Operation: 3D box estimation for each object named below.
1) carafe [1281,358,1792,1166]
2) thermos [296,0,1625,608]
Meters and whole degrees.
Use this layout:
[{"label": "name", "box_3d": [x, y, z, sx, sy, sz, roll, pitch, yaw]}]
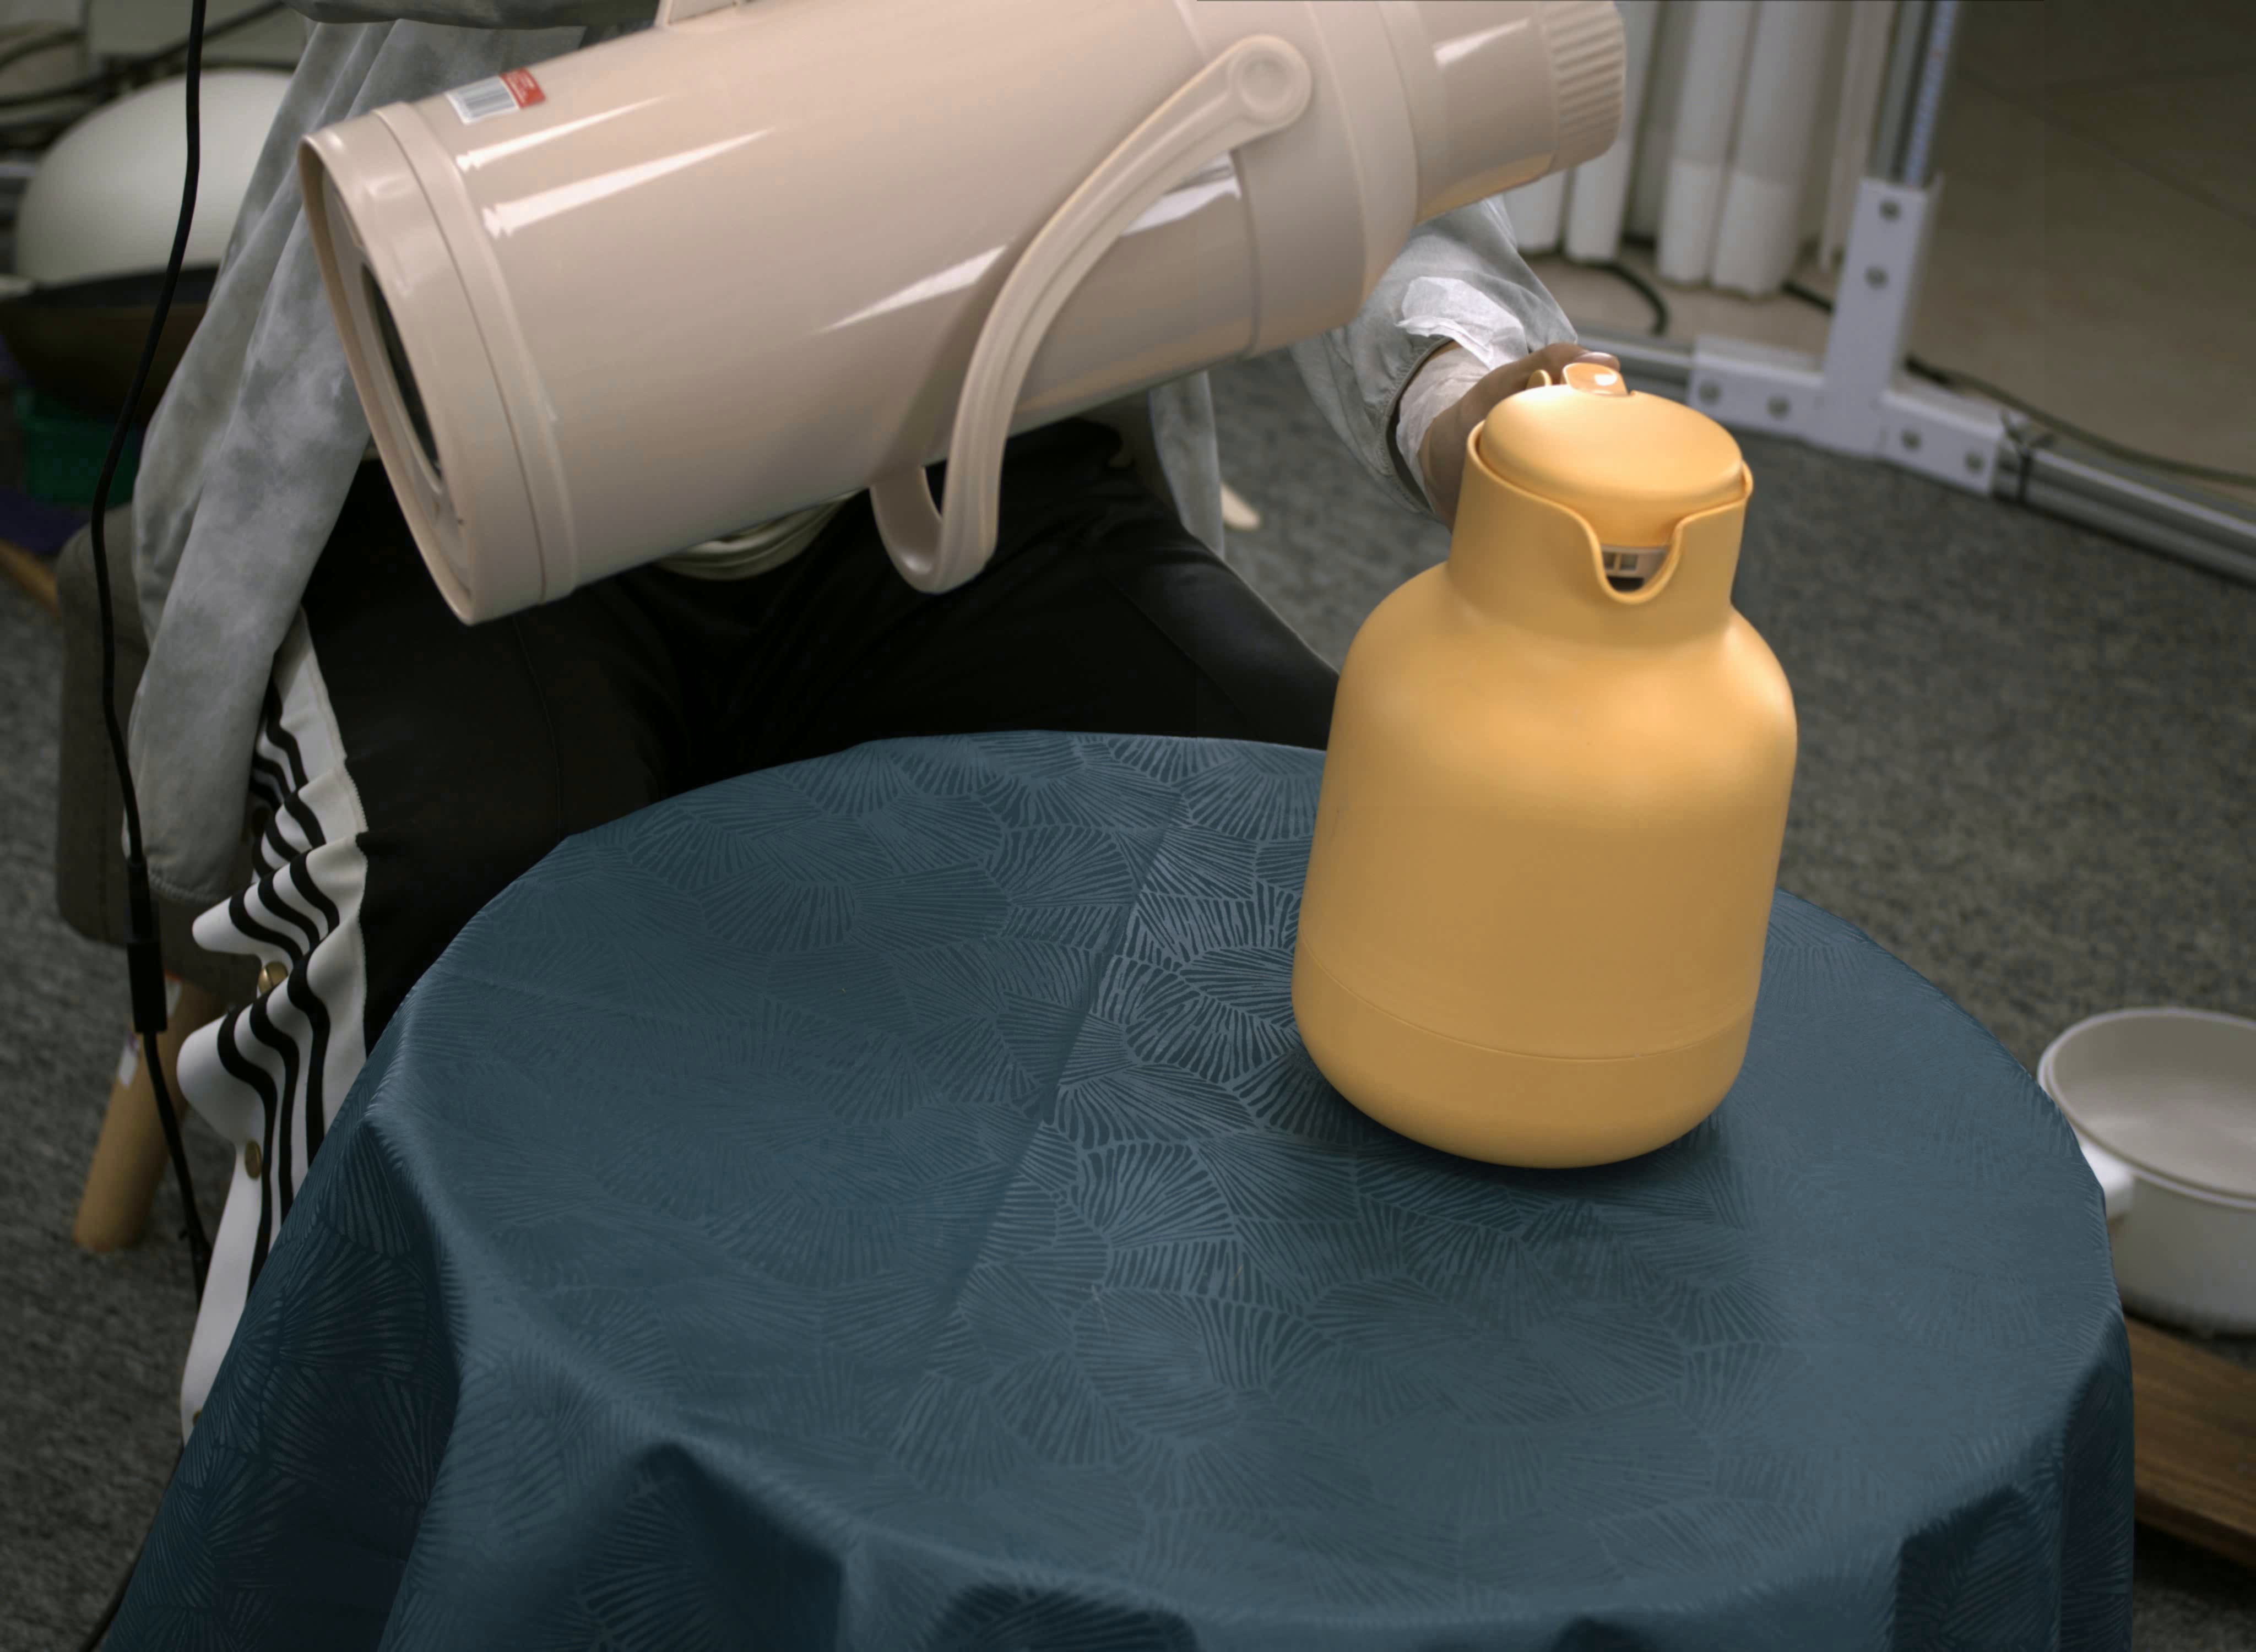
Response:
[{"label": "carafe", "box_3d": [0.148, -0.031, 1.855, 0.163, 0.259, 0.203, 7, 27, -4]}, {"label": "thermos", "box_3d": [-0.052, -0.218, 1.673, 0.405, 0.207, 0.176, -19, 3, -12]}]
